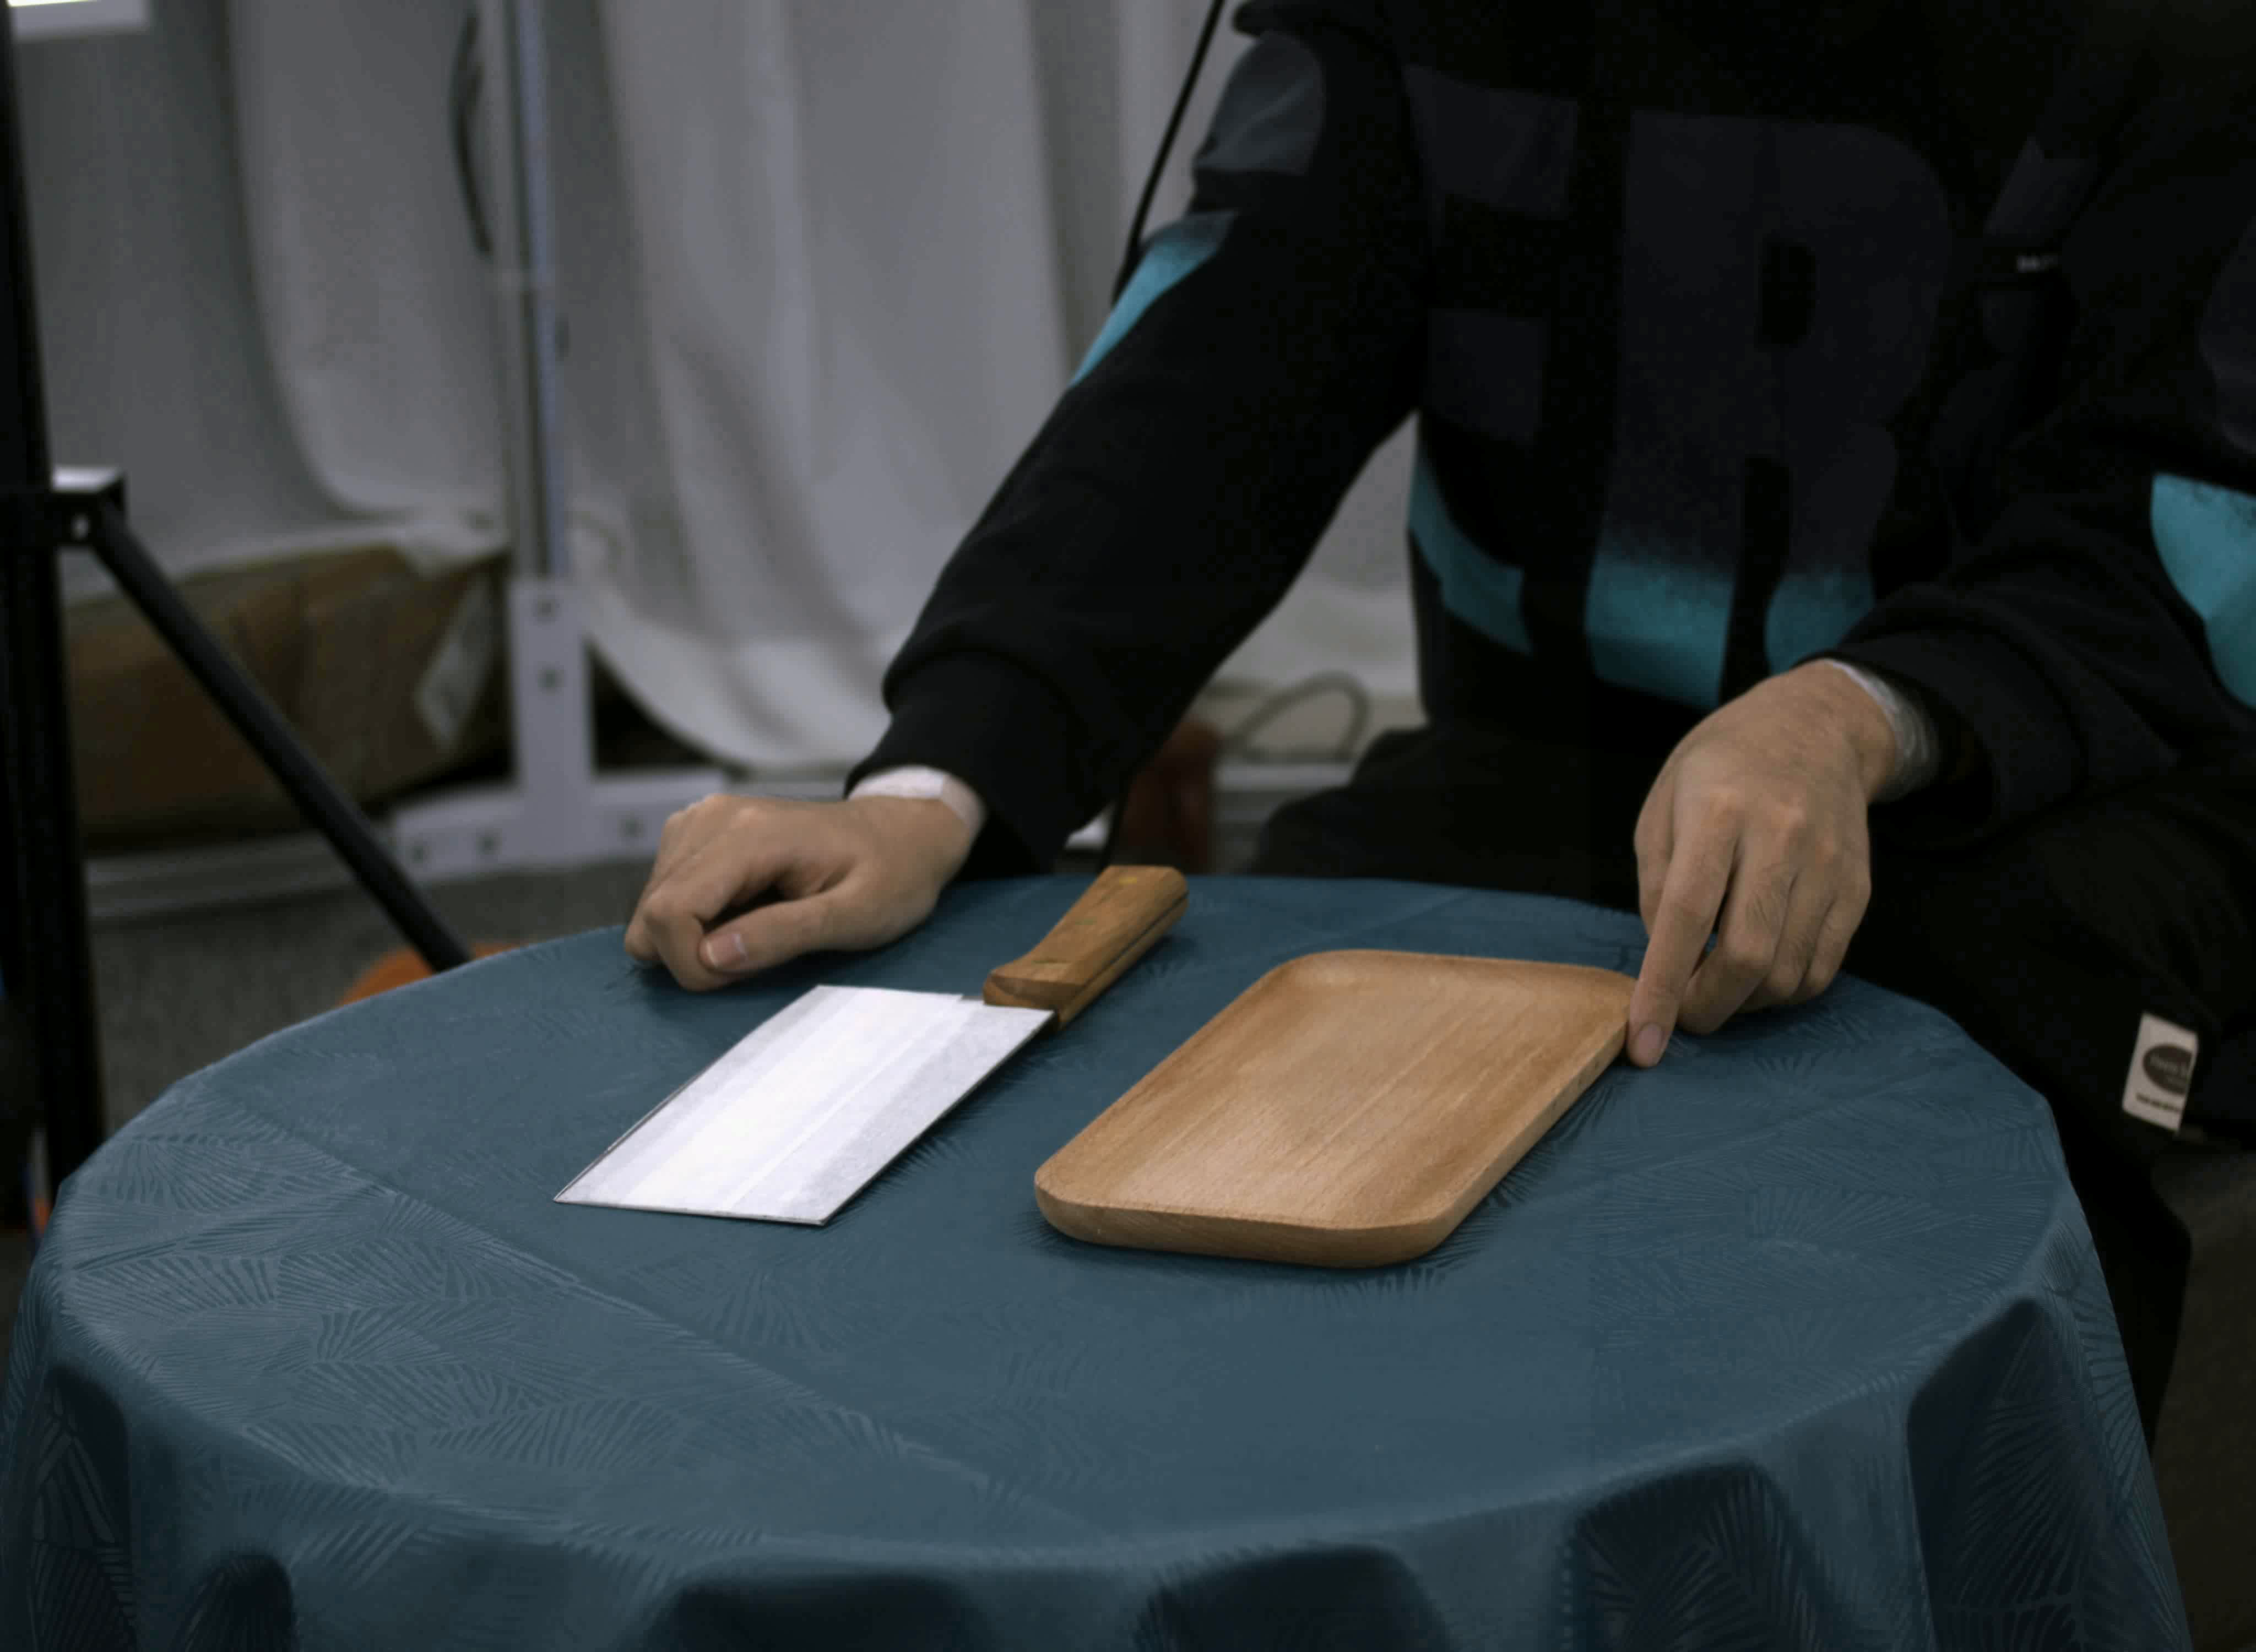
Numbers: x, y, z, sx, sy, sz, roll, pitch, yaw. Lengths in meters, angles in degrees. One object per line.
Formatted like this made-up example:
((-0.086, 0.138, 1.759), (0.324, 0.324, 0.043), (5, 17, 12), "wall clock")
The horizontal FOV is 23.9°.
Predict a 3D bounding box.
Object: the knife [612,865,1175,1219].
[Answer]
((-0.073, 0.067, 1.689), (0.094, 0.021, 0.302), (2, 19, 22), "knife")

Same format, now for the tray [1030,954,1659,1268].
((0.070, 0.084, 1.603), (0.132, 0.023, 0.247), (6, 17, 23), "tray")
